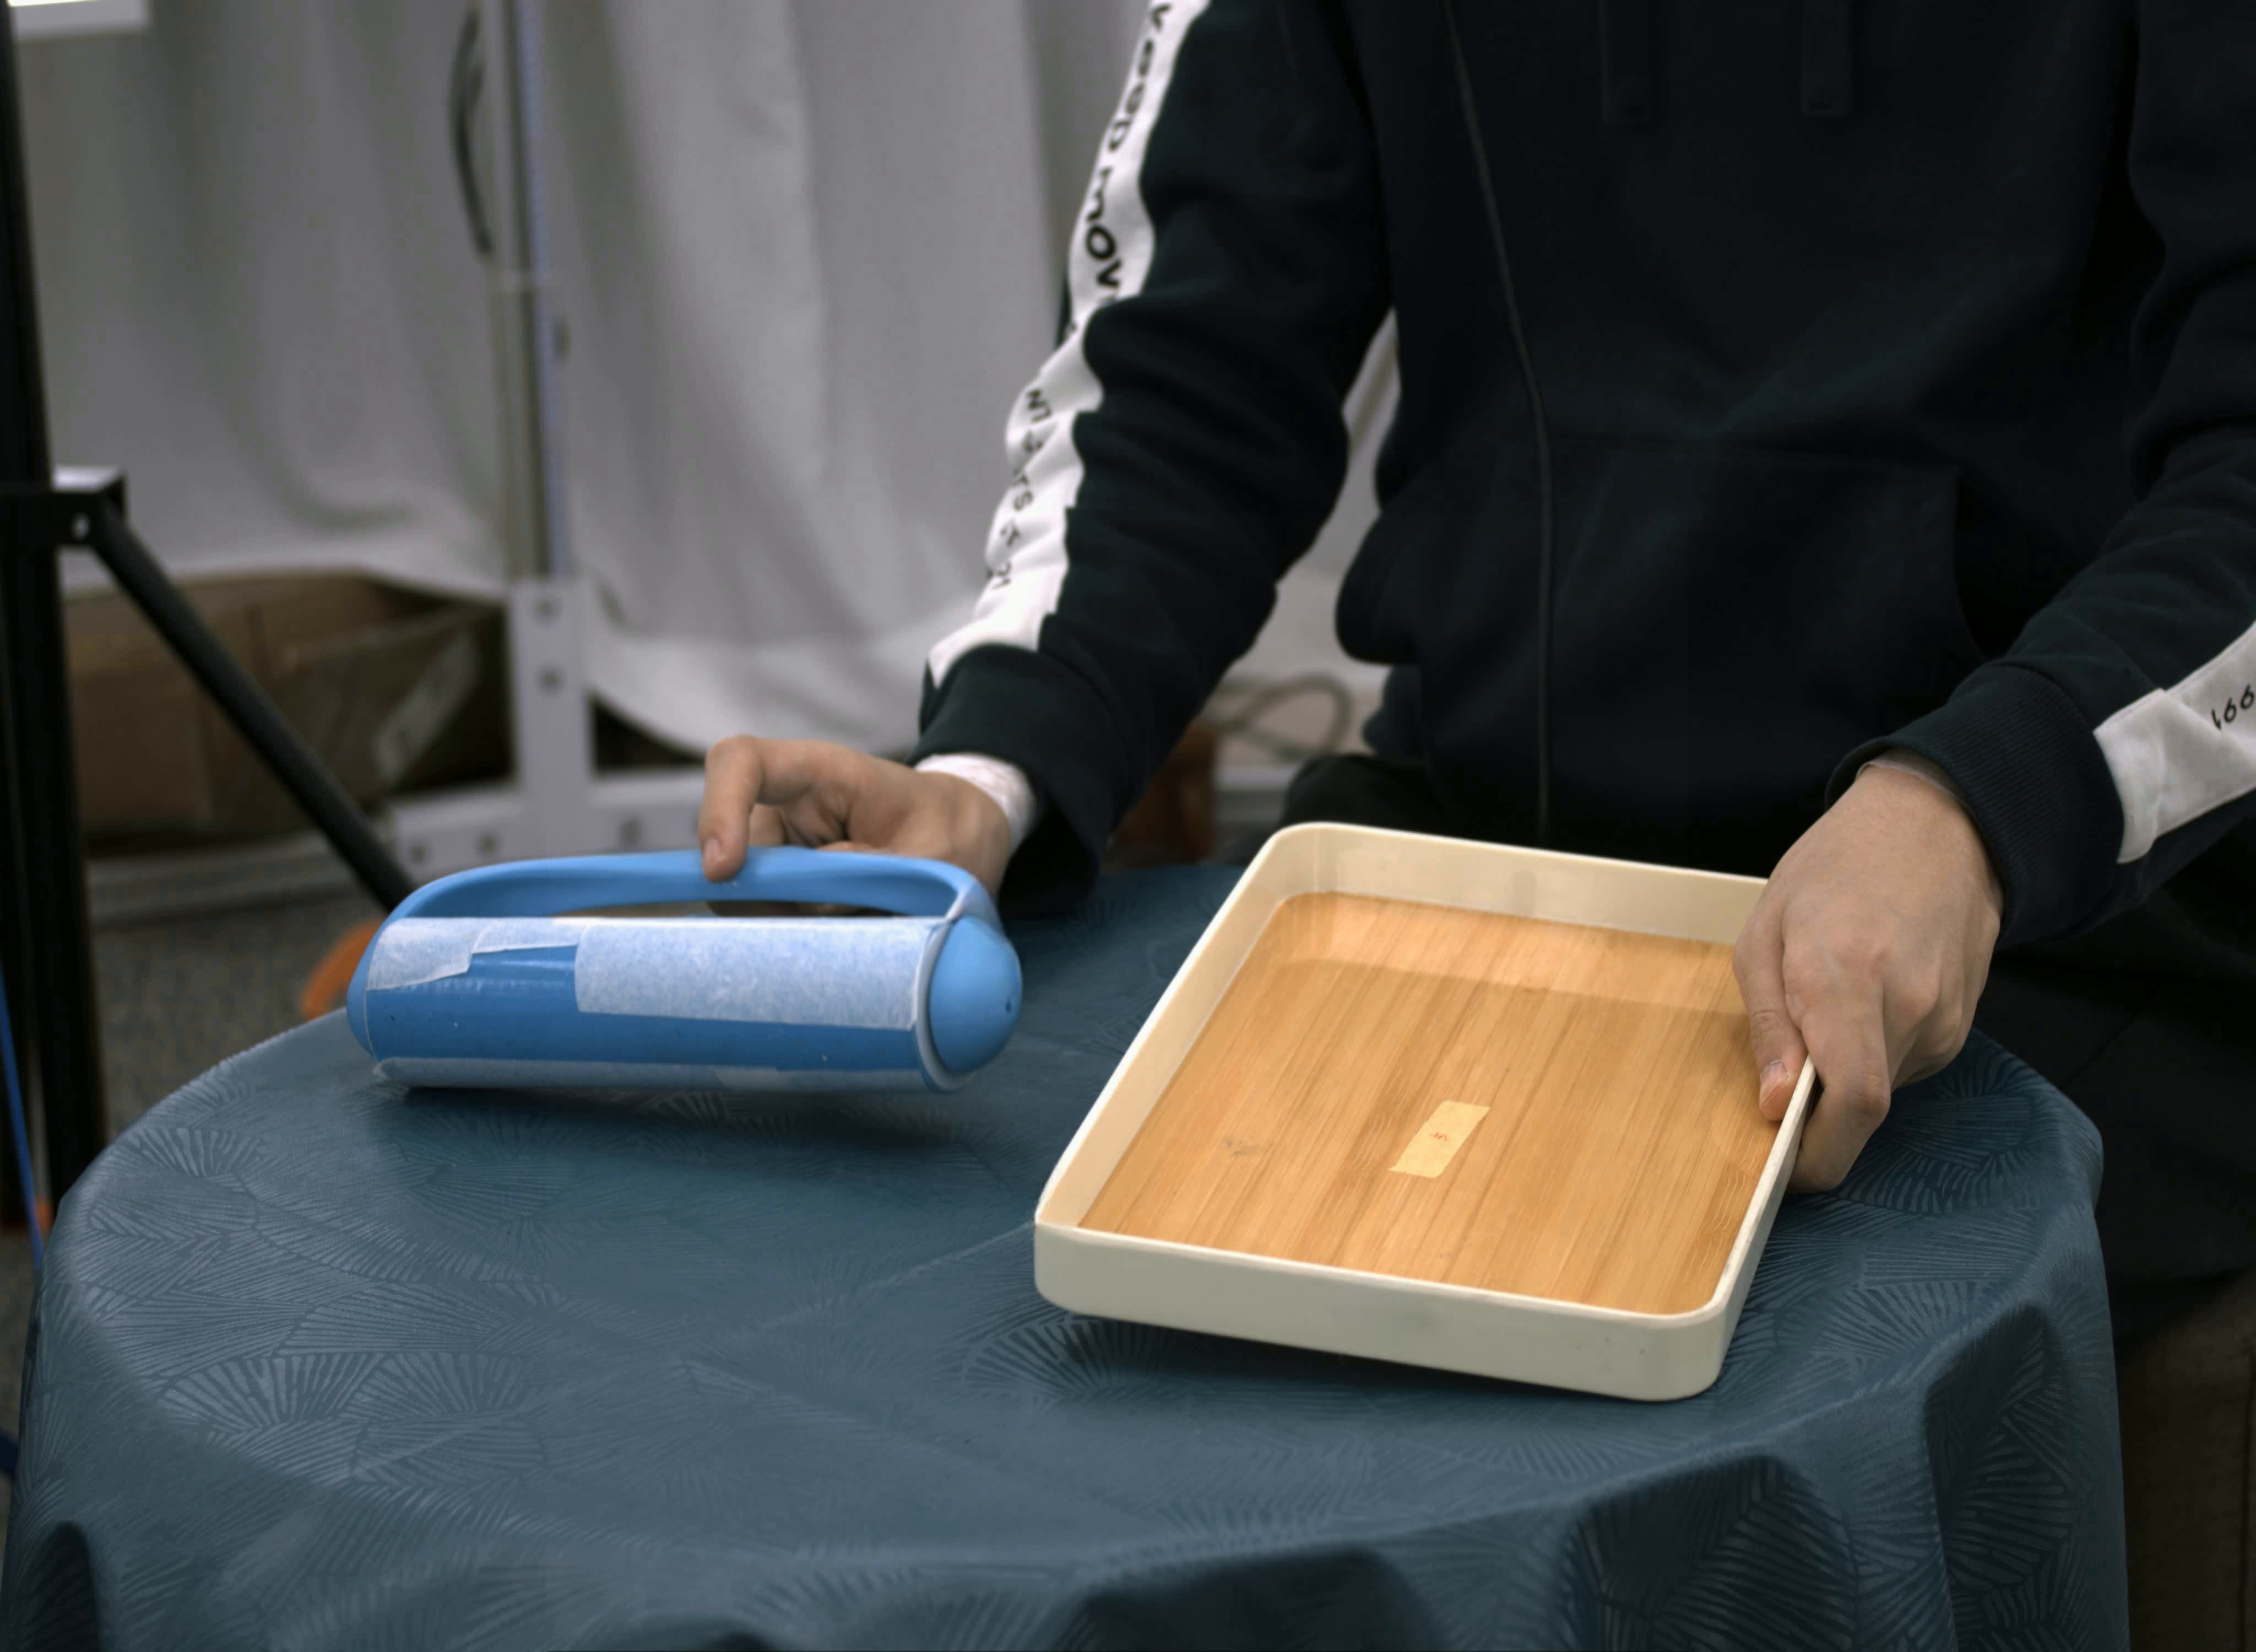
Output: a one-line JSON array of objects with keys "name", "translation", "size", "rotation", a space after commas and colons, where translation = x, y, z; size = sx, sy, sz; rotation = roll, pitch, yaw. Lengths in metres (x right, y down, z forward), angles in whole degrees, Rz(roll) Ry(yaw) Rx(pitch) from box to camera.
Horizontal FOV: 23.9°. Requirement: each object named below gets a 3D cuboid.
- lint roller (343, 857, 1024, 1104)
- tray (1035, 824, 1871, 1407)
[{"name": "lint roller", "translation": [-0.120, 0.040, 1.691], "size": [0.232, 0.068, 0.178], "rotation": [-4, 14, 22]}, {"name": "tray", "translation": [0.101, 0.076, 1.524], "size": [0.193, 0.027, 0.298], "rotation": [7, 24, 15]}]
